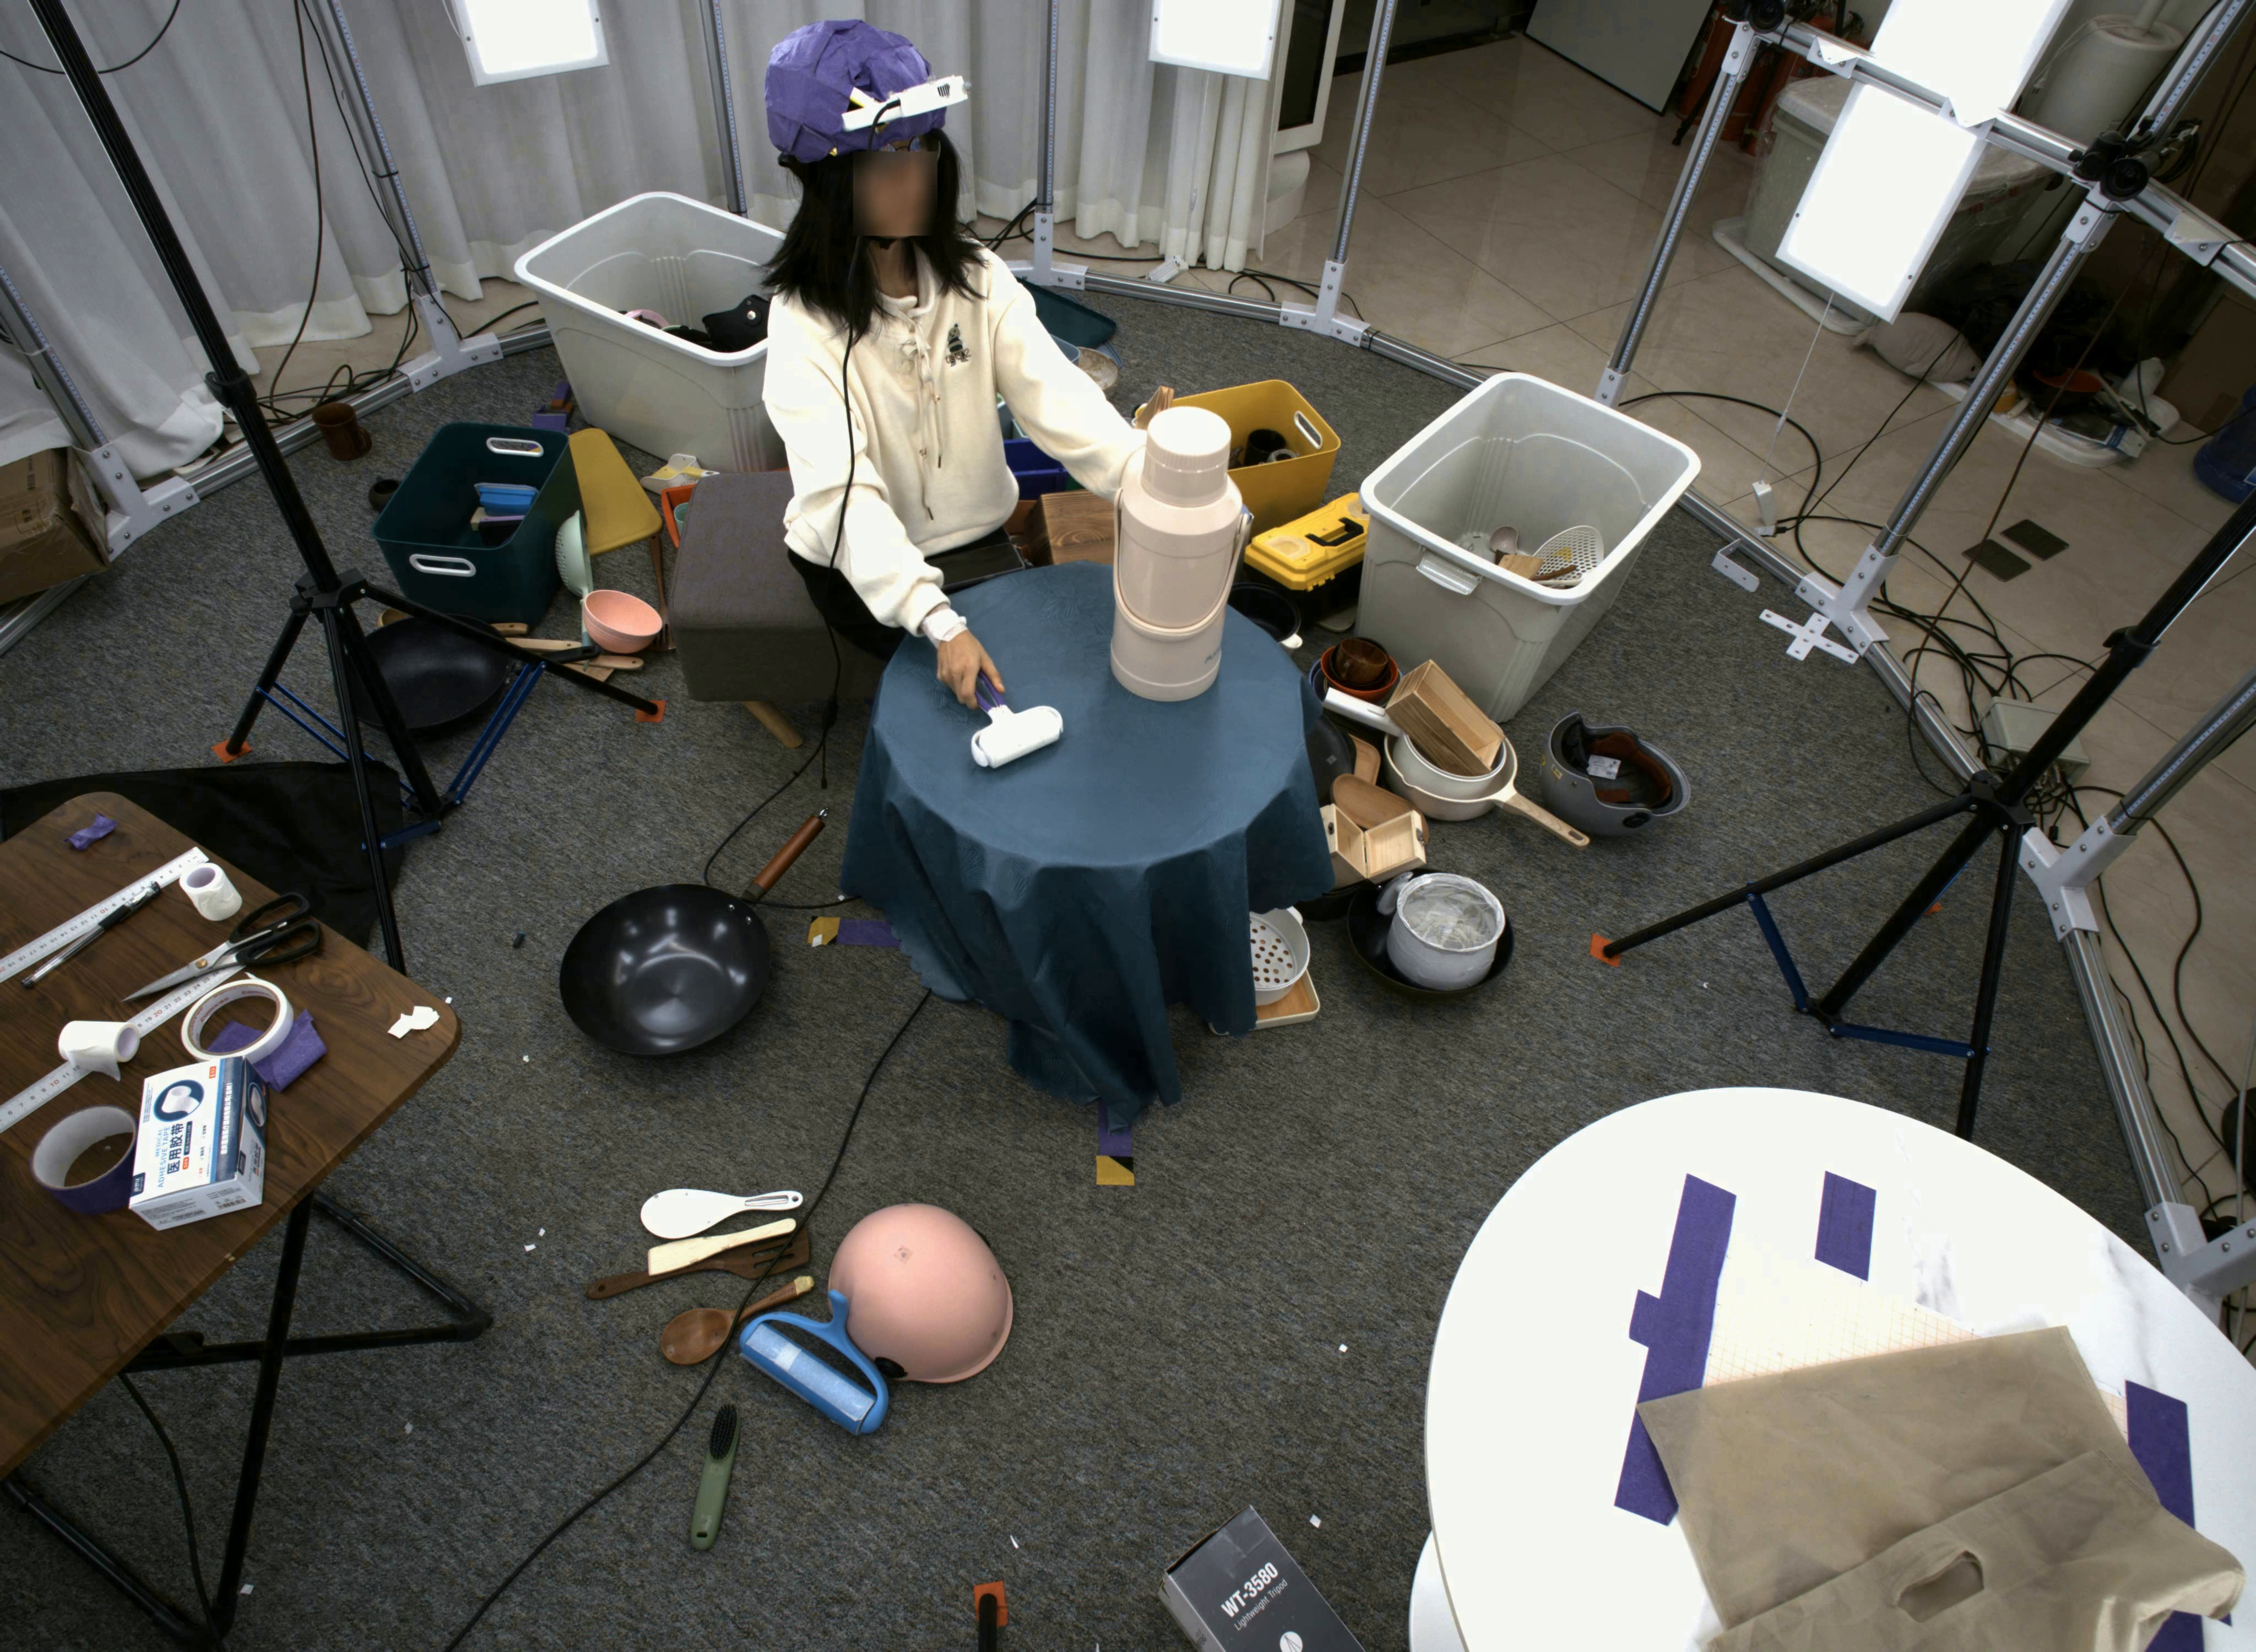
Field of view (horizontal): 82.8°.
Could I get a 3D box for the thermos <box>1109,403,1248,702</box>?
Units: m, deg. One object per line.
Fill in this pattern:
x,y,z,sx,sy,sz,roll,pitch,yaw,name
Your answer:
0.069,-0.372,1.742,0.175,0.396,0.211,13,49,7,thermos

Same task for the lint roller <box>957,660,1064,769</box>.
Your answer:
-0.180,-0.170,1.758,0.133,0.049,0.184,-24,68,-22,lint roller
